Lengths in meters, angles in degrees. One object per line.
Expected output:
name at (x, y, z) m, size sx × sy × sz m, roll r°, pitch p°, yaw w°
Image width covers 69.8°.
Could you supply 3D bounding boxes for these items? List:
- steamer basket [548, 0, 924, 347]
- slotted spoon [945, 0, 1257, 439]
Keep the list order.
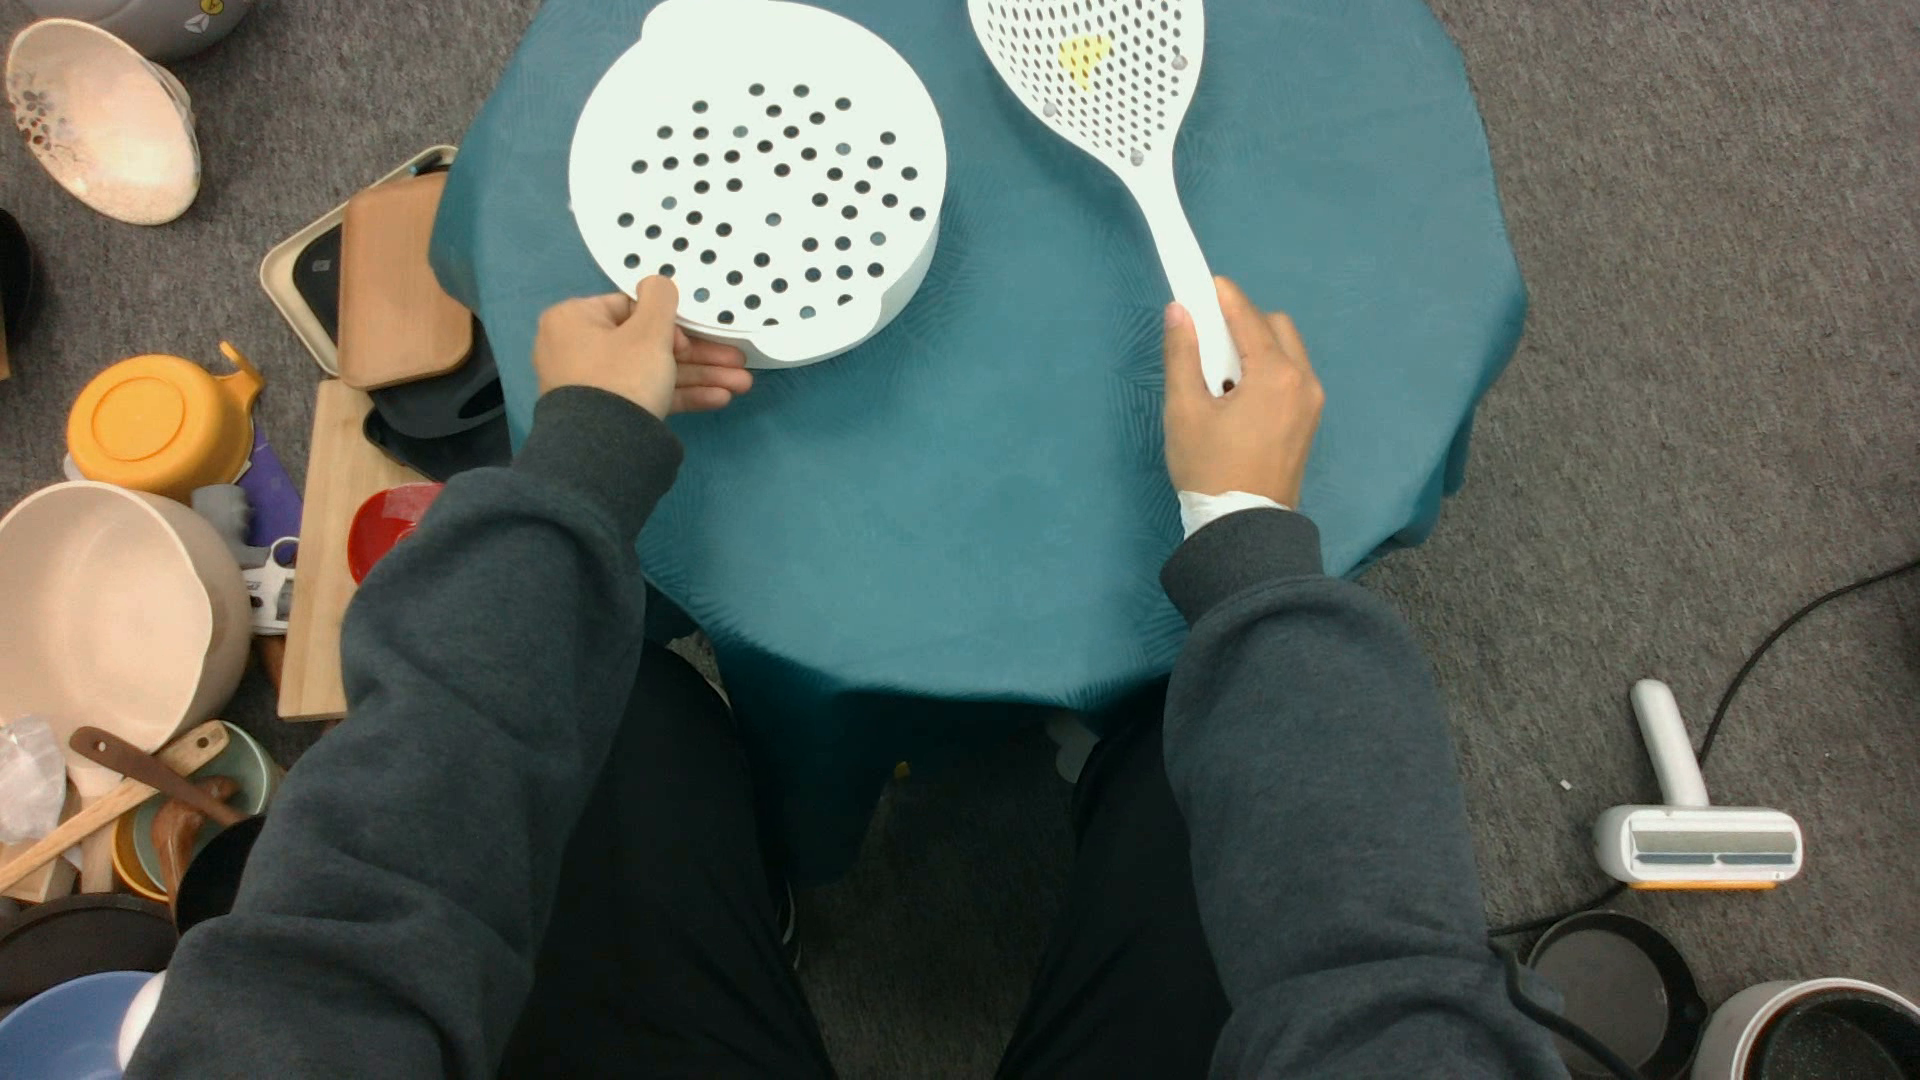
steamer basket at (-0.120, -0.205, 0.766) m, size 0.202 × 0.069 × 0.231 m, roll -20°, pitch 74°, yaw -7°
slotted spoon at (0.093, -0.215, 0.778) m, size 0.137 × 0.050 × 0.348 m, roll -16°, pitch 69°, yaw -8°
